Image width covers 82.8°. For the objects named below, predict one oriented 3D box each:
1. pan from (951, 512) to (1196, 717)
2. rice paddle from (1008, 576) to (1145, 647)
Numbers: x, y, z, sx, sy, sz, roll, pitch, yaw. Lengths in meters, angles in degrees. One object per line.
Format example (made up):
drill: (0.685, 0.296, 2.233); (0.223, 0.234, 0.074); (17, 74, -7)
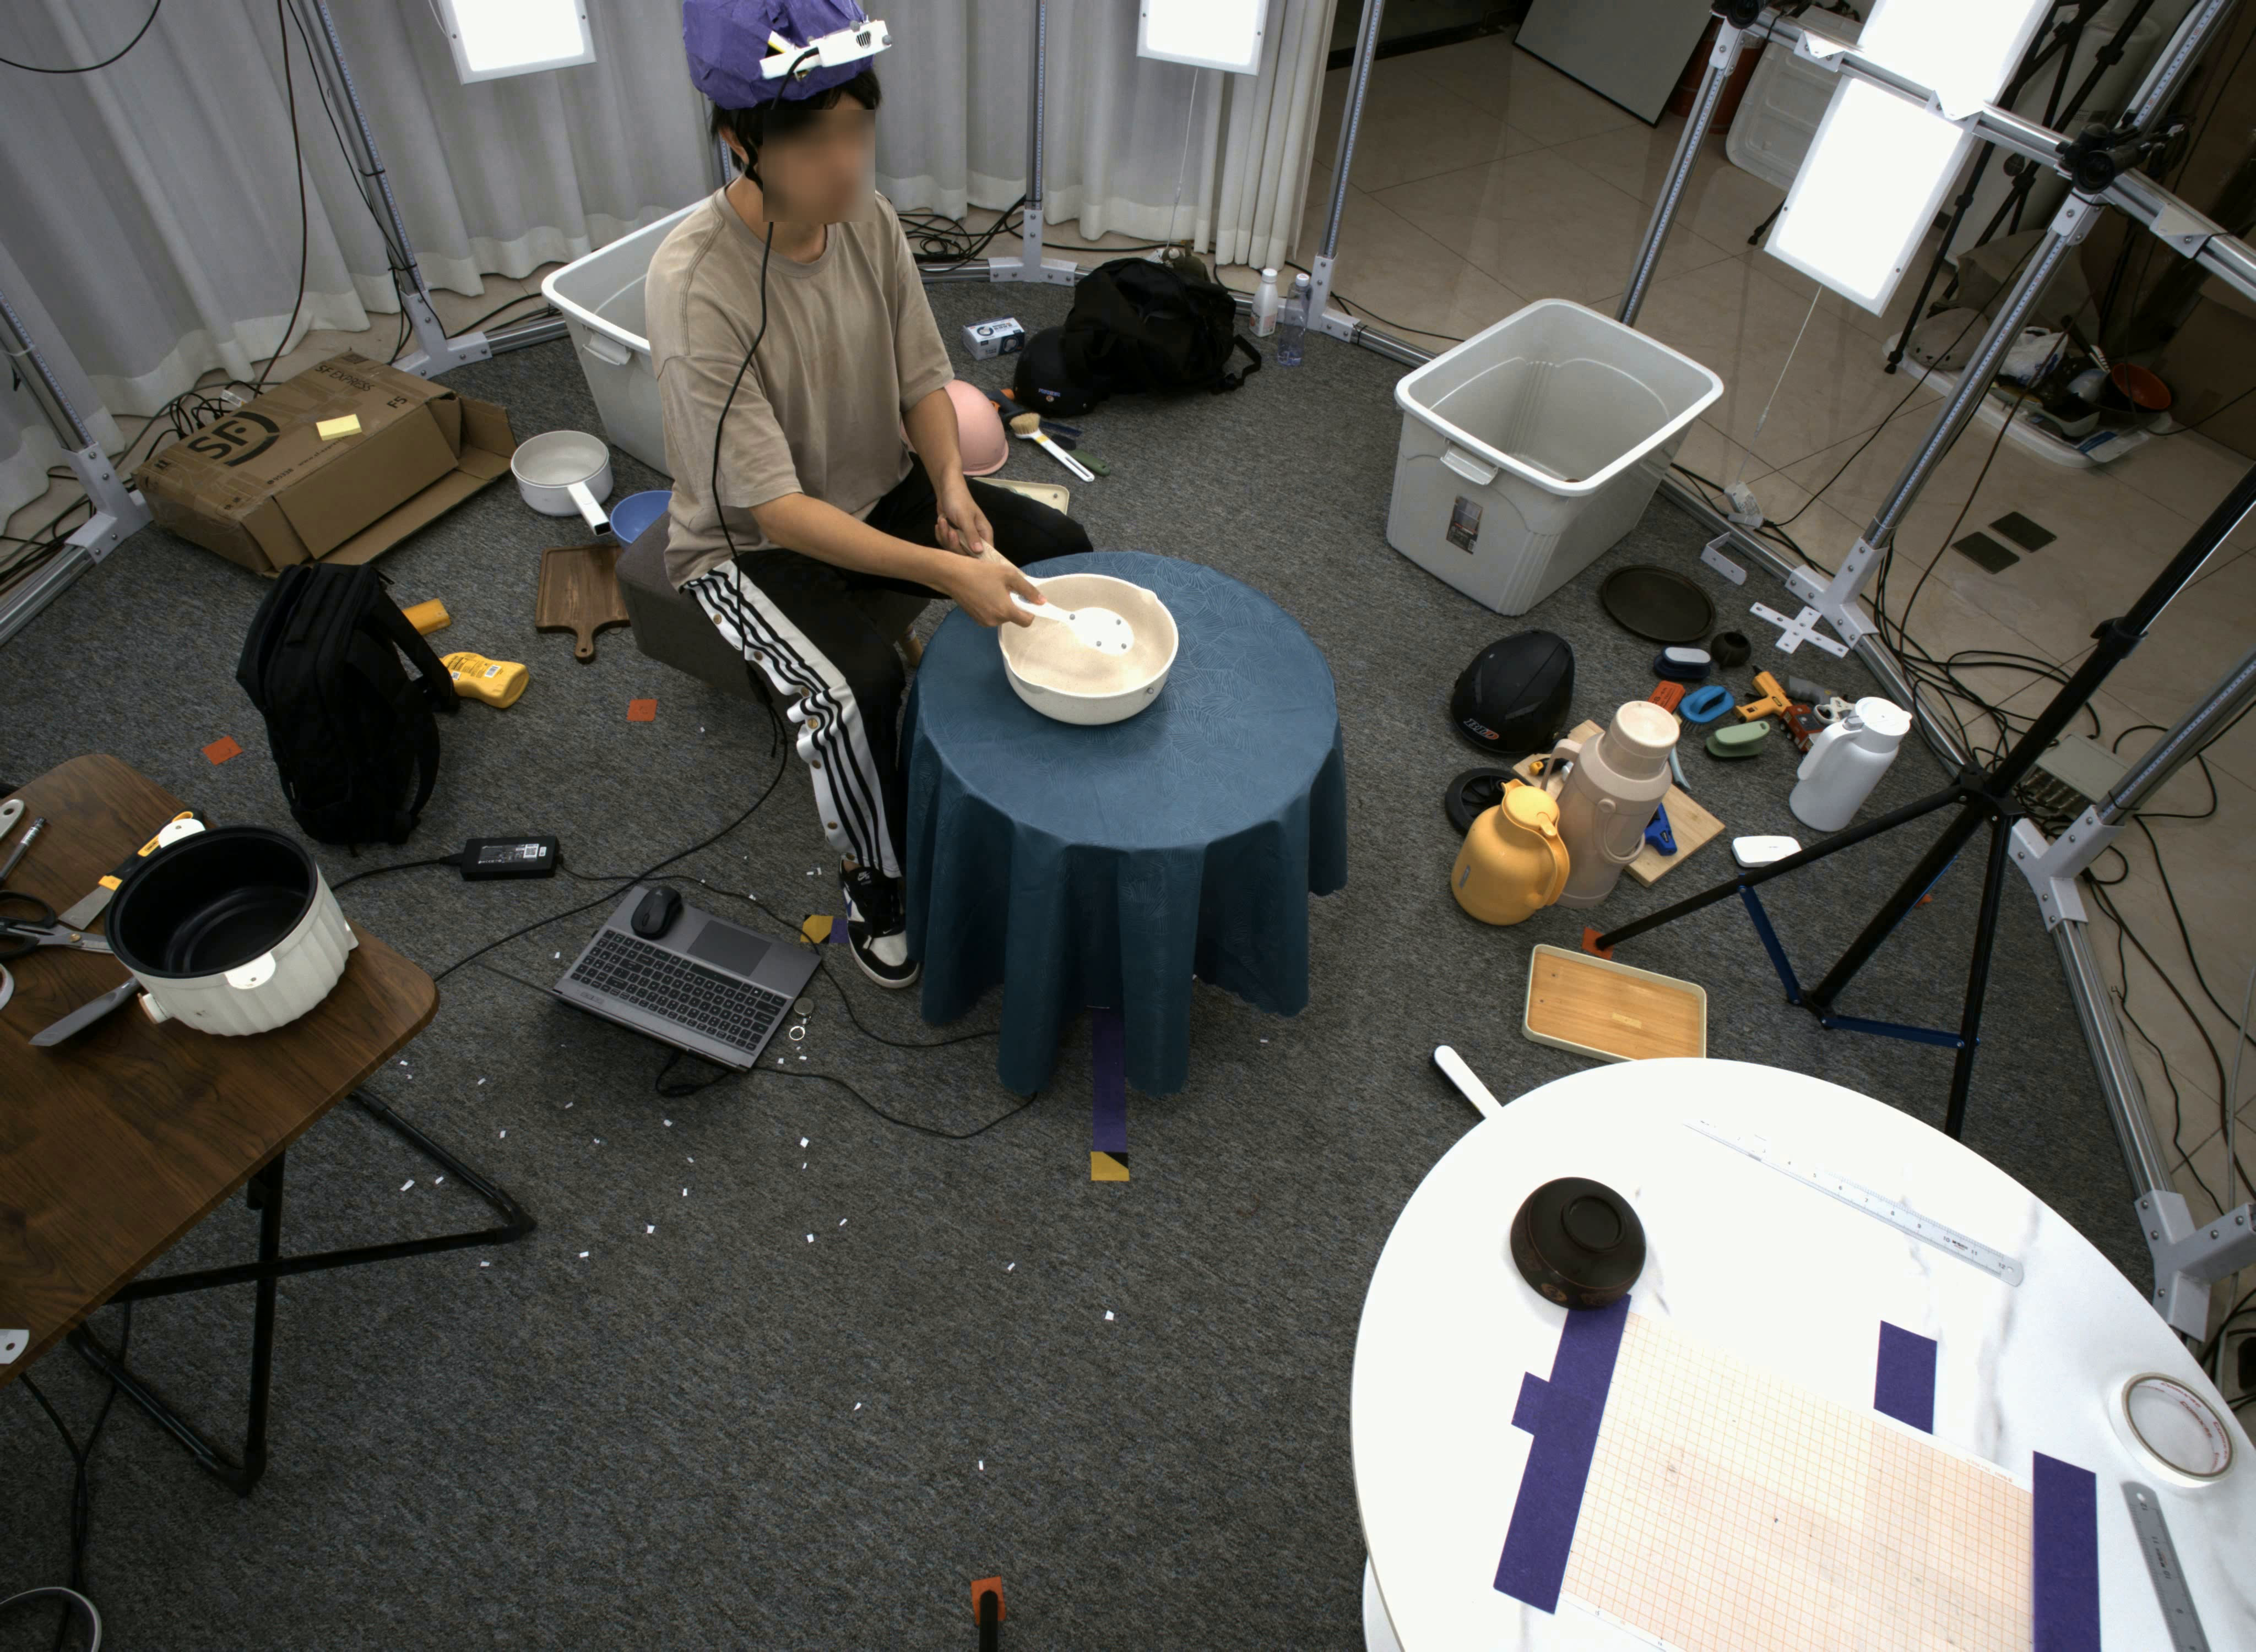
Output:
pan: (-0.098, -0.312, 1.855); (0.441, 0.099, 0.266); (37, 57, 25)
rice paddle: (-0.066, -0.299, 1.785); (0.203, 0.029, 0.070); (16, 60, -21)
